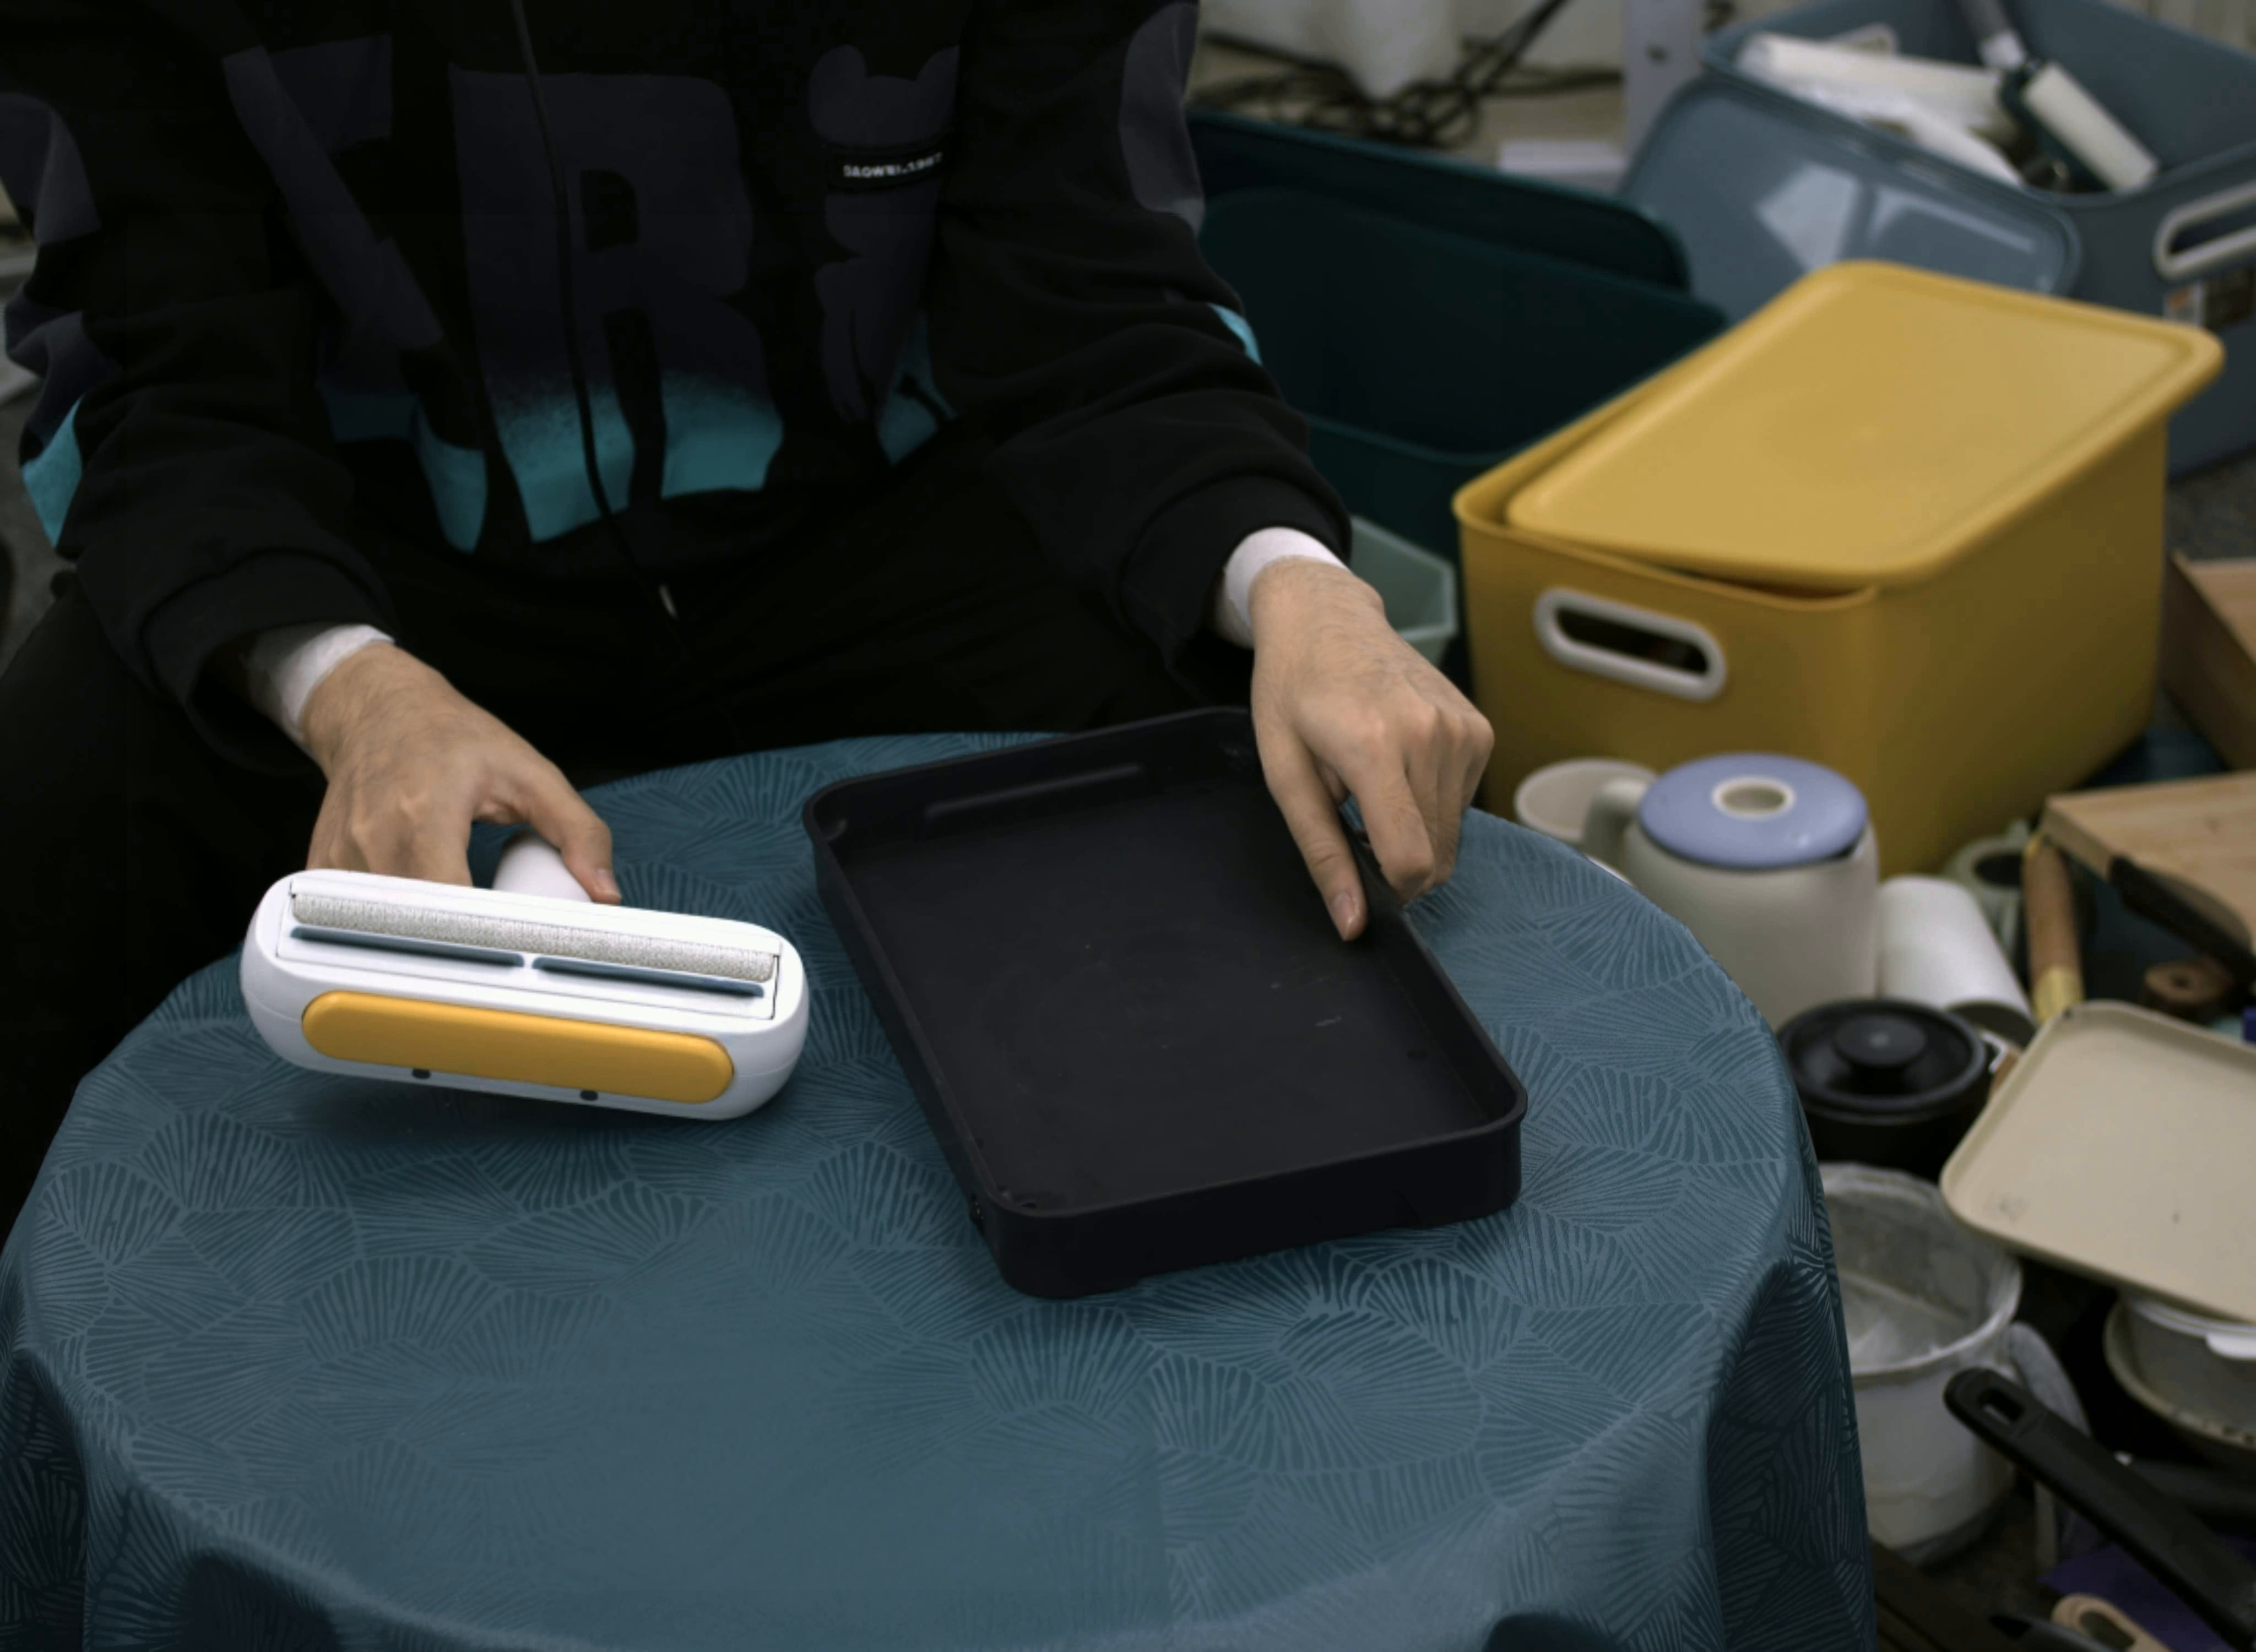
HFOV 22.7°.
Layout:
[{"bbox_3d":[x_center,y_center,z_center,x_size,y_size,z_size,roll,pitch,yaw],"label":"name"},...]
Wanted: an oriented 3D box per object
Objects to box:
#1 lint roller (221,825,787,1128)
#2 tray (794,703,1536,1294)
[{"bbox_3d":[-0.209,0.036,1.968,0.192,0.073,0.195,6,28,1],"label":"lint roller"},{"bbox_3d":[0.007,0.053,1.949,0.184,0.036,0.321,-11,29,-13],"label":"tray"}]
